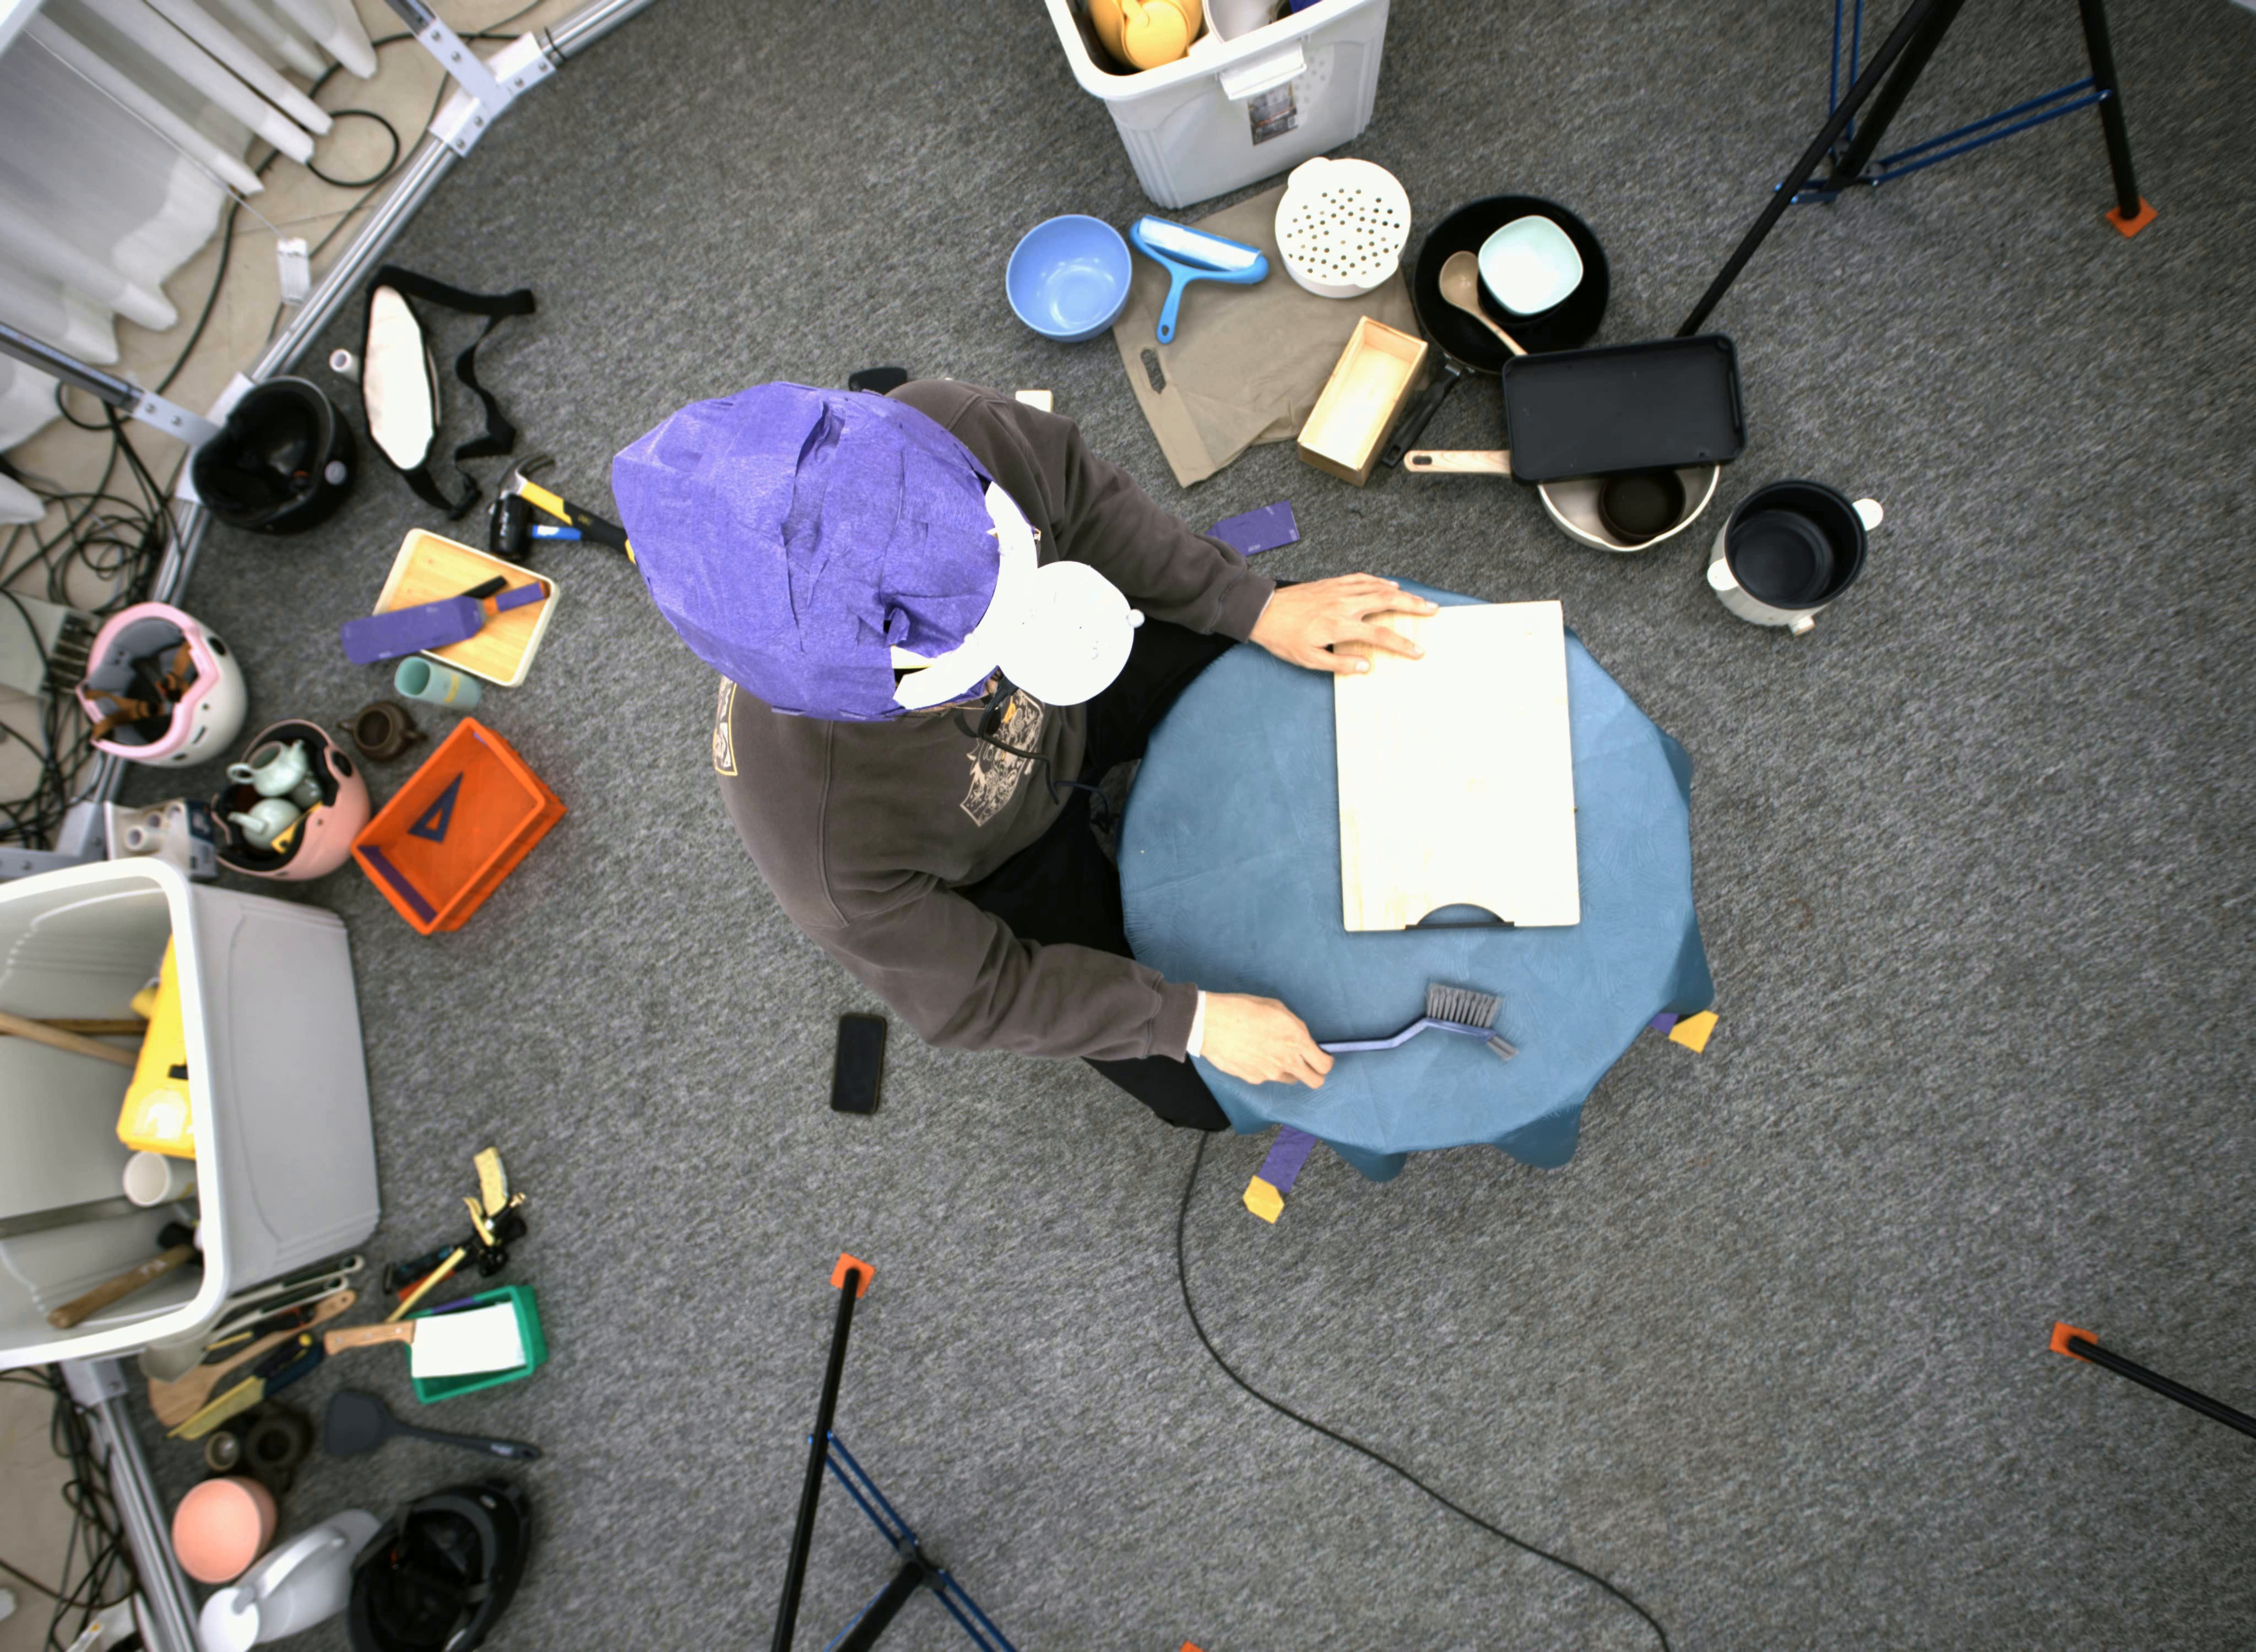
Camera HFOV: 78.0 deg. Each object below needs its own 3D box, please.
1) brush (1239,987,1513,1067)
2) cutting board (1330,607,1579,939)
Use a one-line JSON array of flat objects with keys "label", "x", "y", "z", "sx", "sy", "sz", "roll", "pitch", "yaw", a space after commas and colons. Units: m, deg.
[{"label": "brush", "x": 0.254, "y": 0.227, "z": 1.429, "sx": 0.274, "sy": 0.033, "sz": 0.096, "roll": -13, "pitch": 93, "yaw": 5}, {"label": "cutting board", "x": 0.340, "y": -0.059, "z": 1.443, "sx": 0.252, "sy": 0.023, "sz": 0.347, "roll": -3, "pitch": 87, "yaw": 11}]
